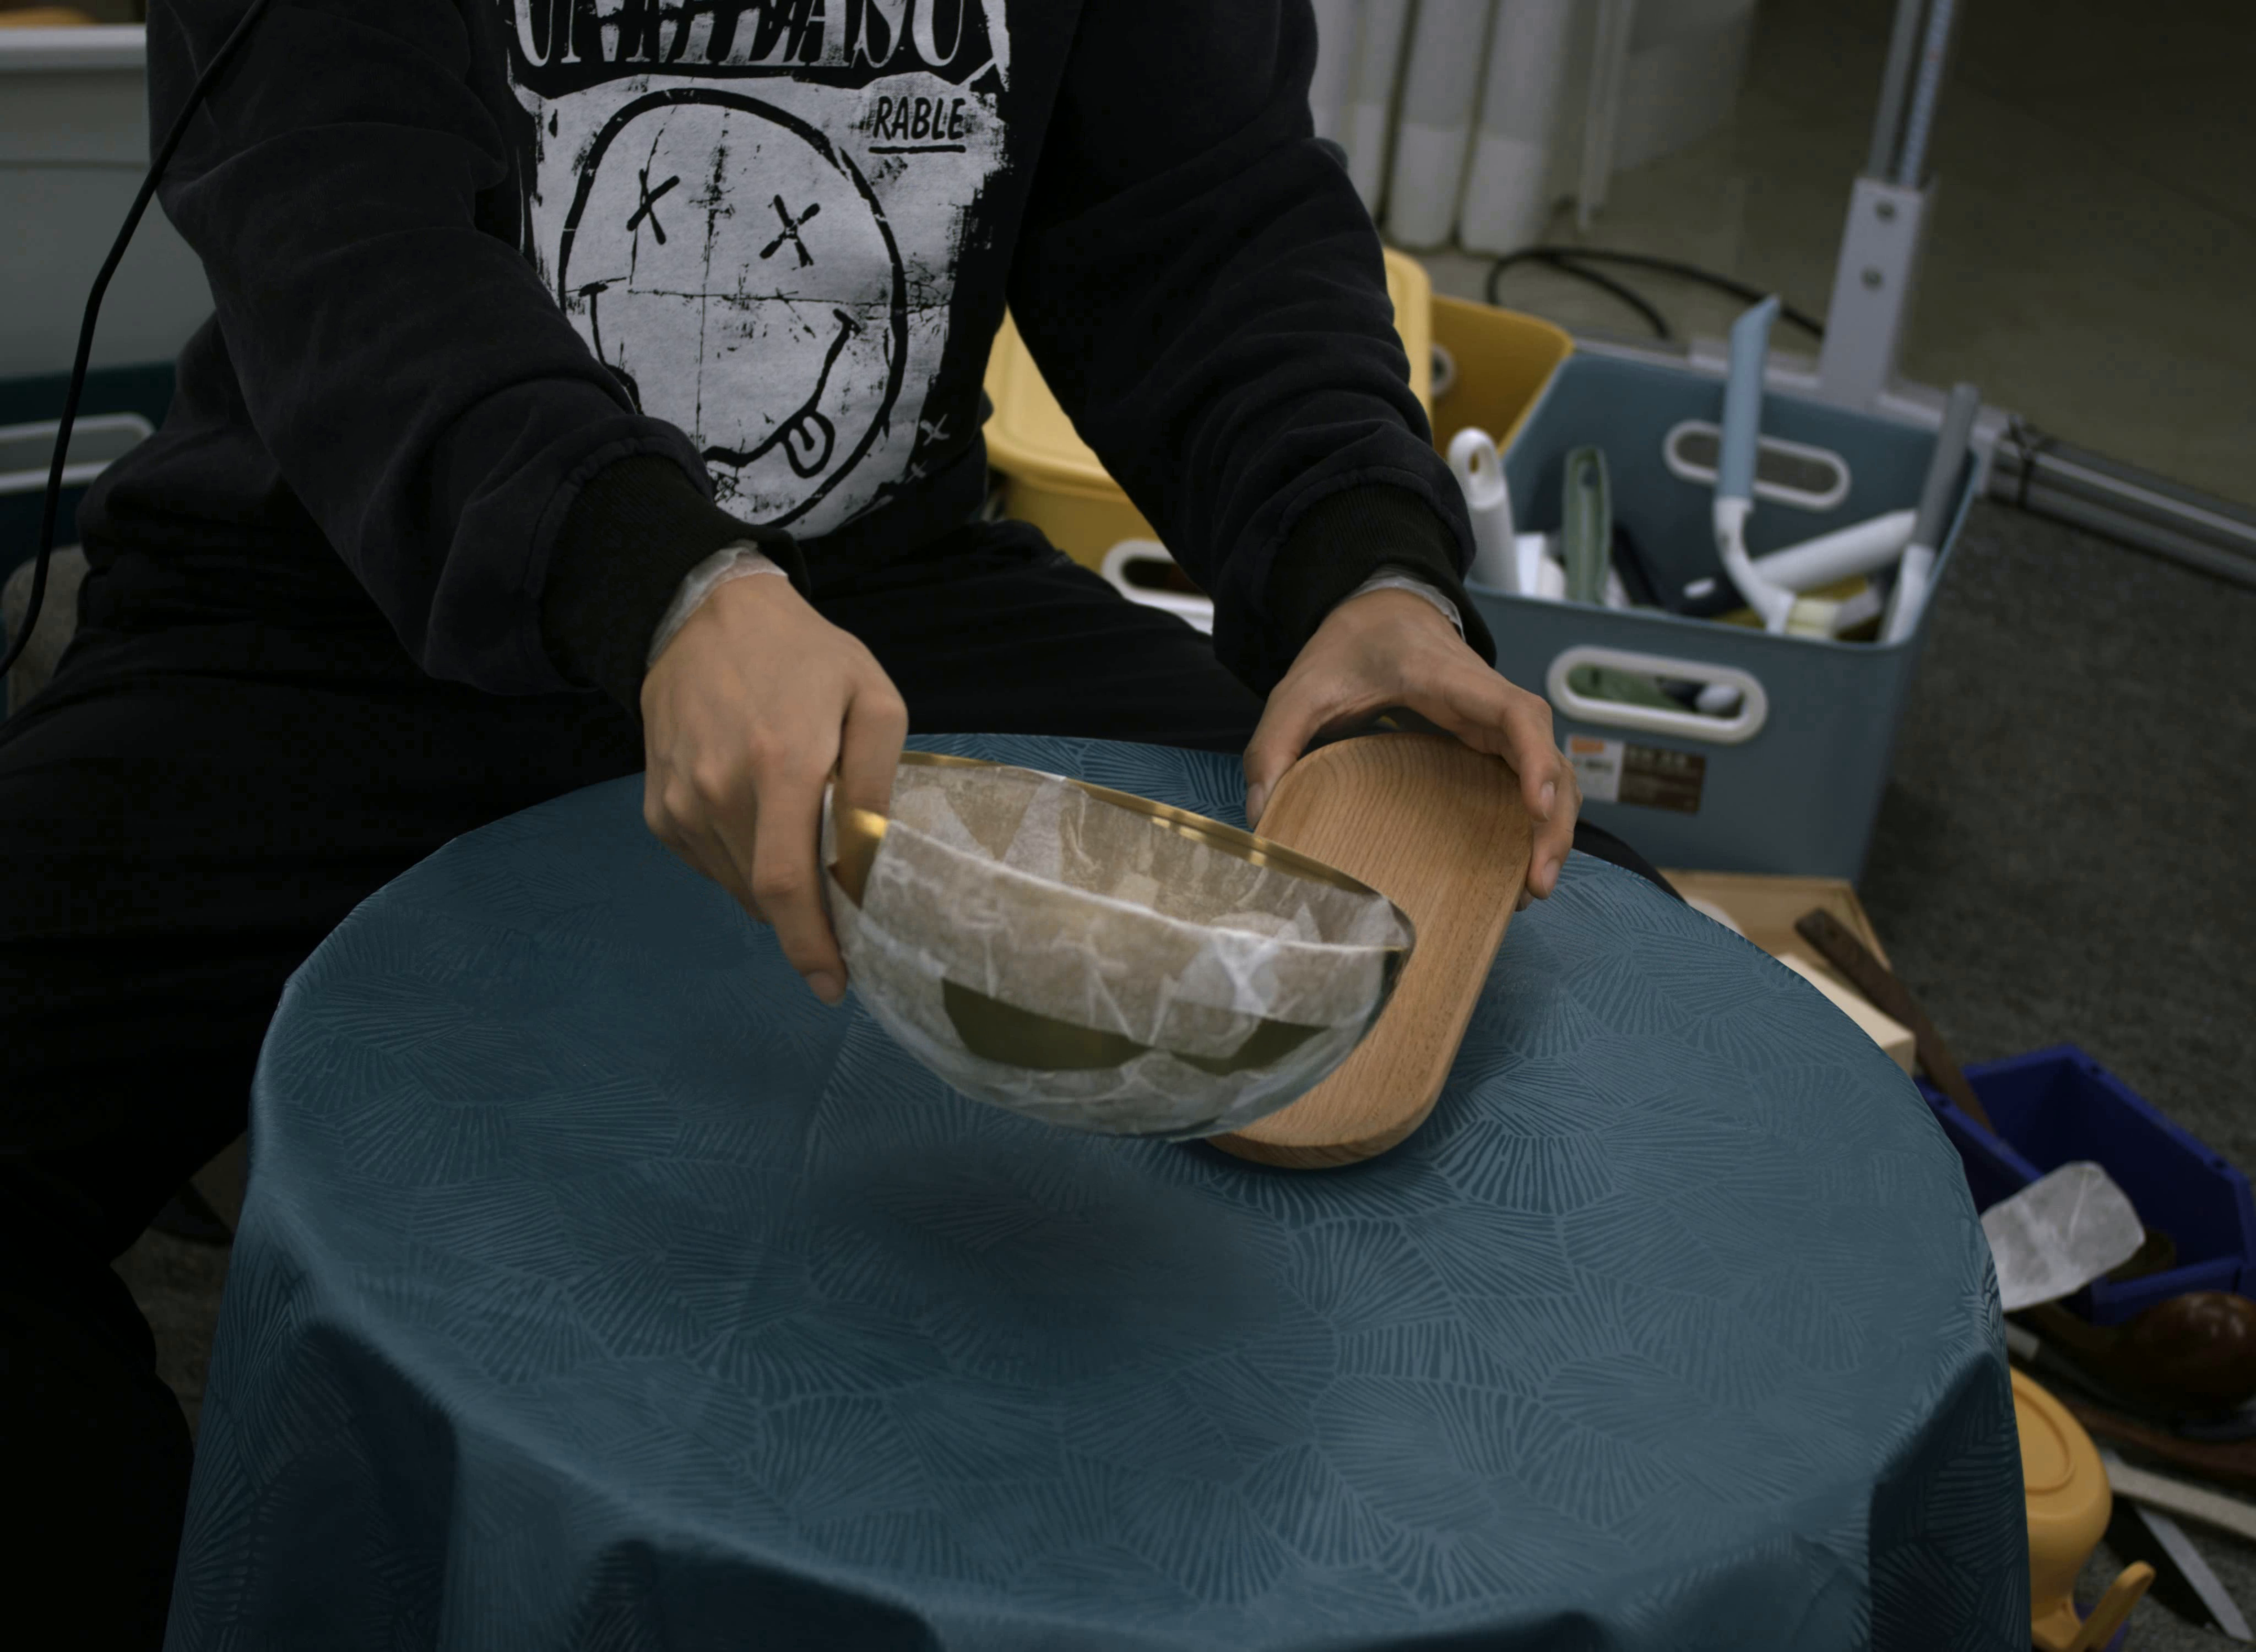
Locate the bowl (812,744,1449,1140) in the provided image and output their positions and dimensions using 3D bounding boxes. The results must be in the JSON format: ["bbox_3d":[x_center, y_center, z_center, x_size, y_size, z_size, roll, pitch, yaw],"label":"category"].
[{"bbox_3d":[-0.012,0.048,1.734,0.214,0.094,0.215,14,10,-3],"label":"bowl"}]

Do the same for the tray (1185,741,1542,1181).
[{"bbox_3d":[0.082,0.046,1.899,0.102,0.020,0.232,8,42,15],"label":"tray"}]
